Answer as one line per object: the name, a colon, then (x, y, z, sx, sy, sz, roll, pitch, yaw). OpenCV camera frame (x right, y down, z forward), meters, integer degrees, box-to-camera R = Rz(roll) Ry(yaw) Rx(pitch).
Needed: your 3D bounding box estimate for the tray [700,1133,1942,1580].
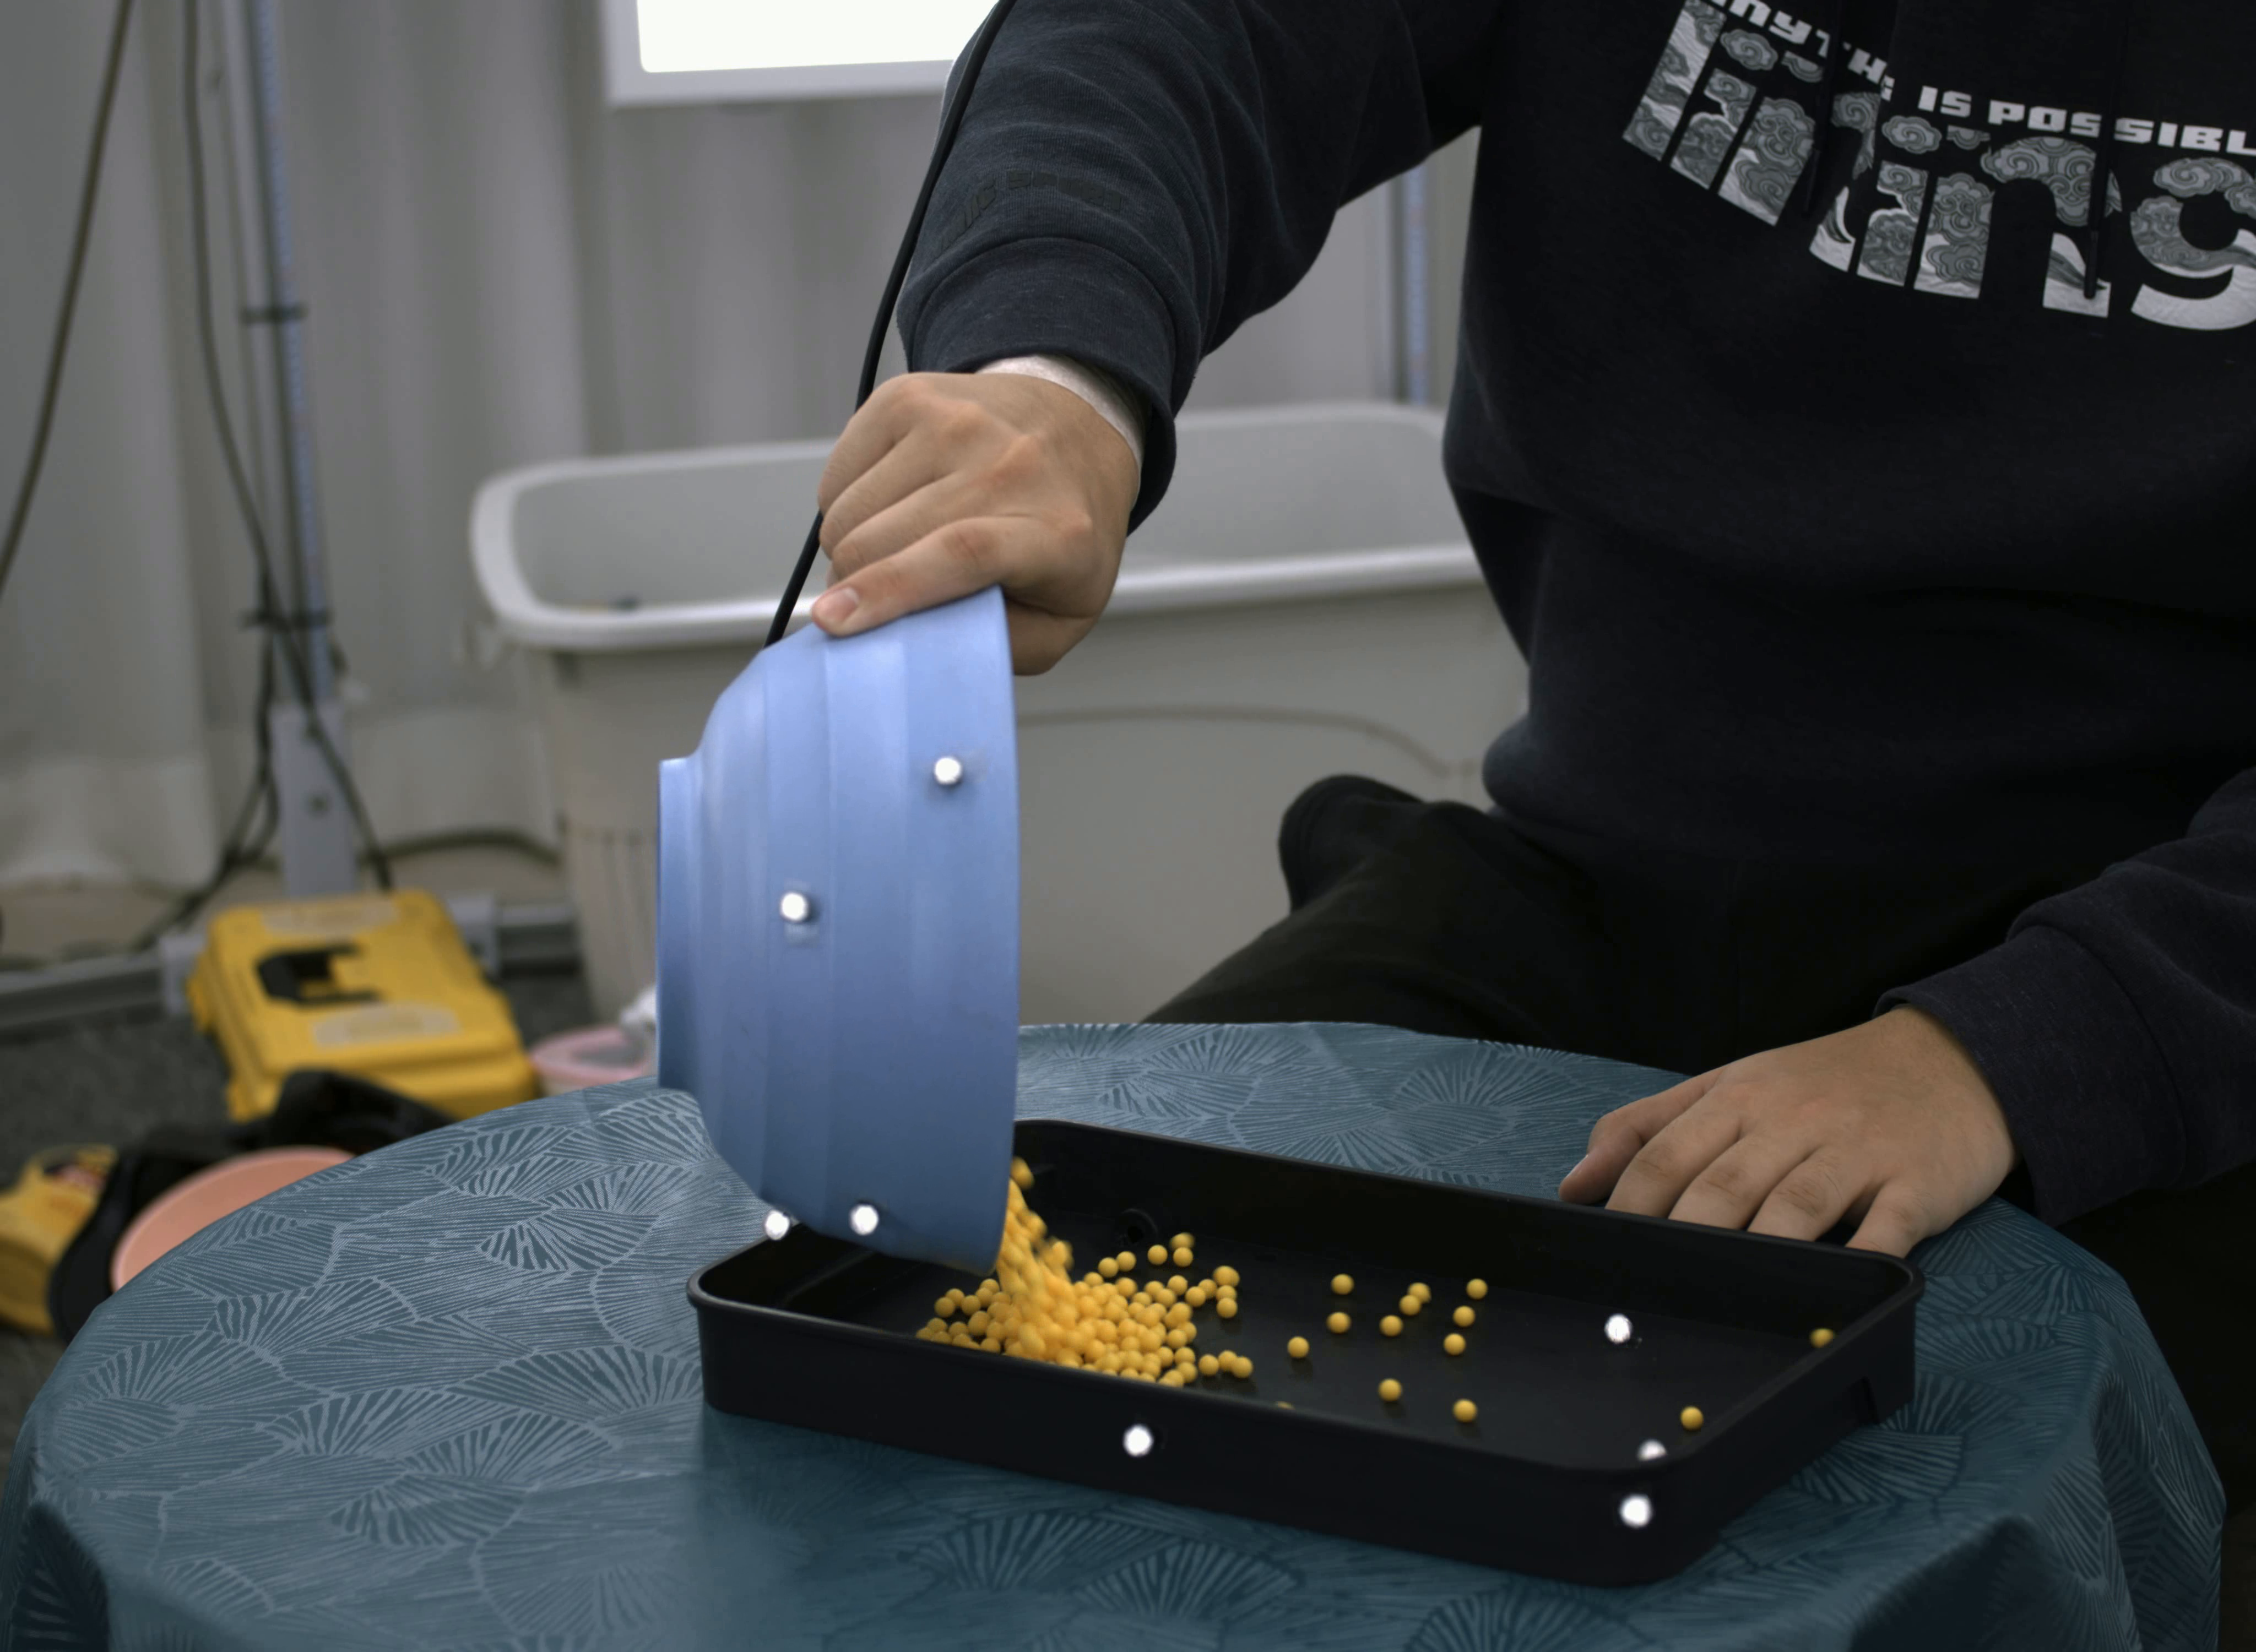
tray: (0.053, 0.144, 1.534, 0.319, 0.037, 0.184, 5, 16, 31)

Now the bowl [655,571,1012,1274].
bowl: (-0.085, 0.027, 1.532, 0.095, 0.196, 0.198, 0, 14, -4)
